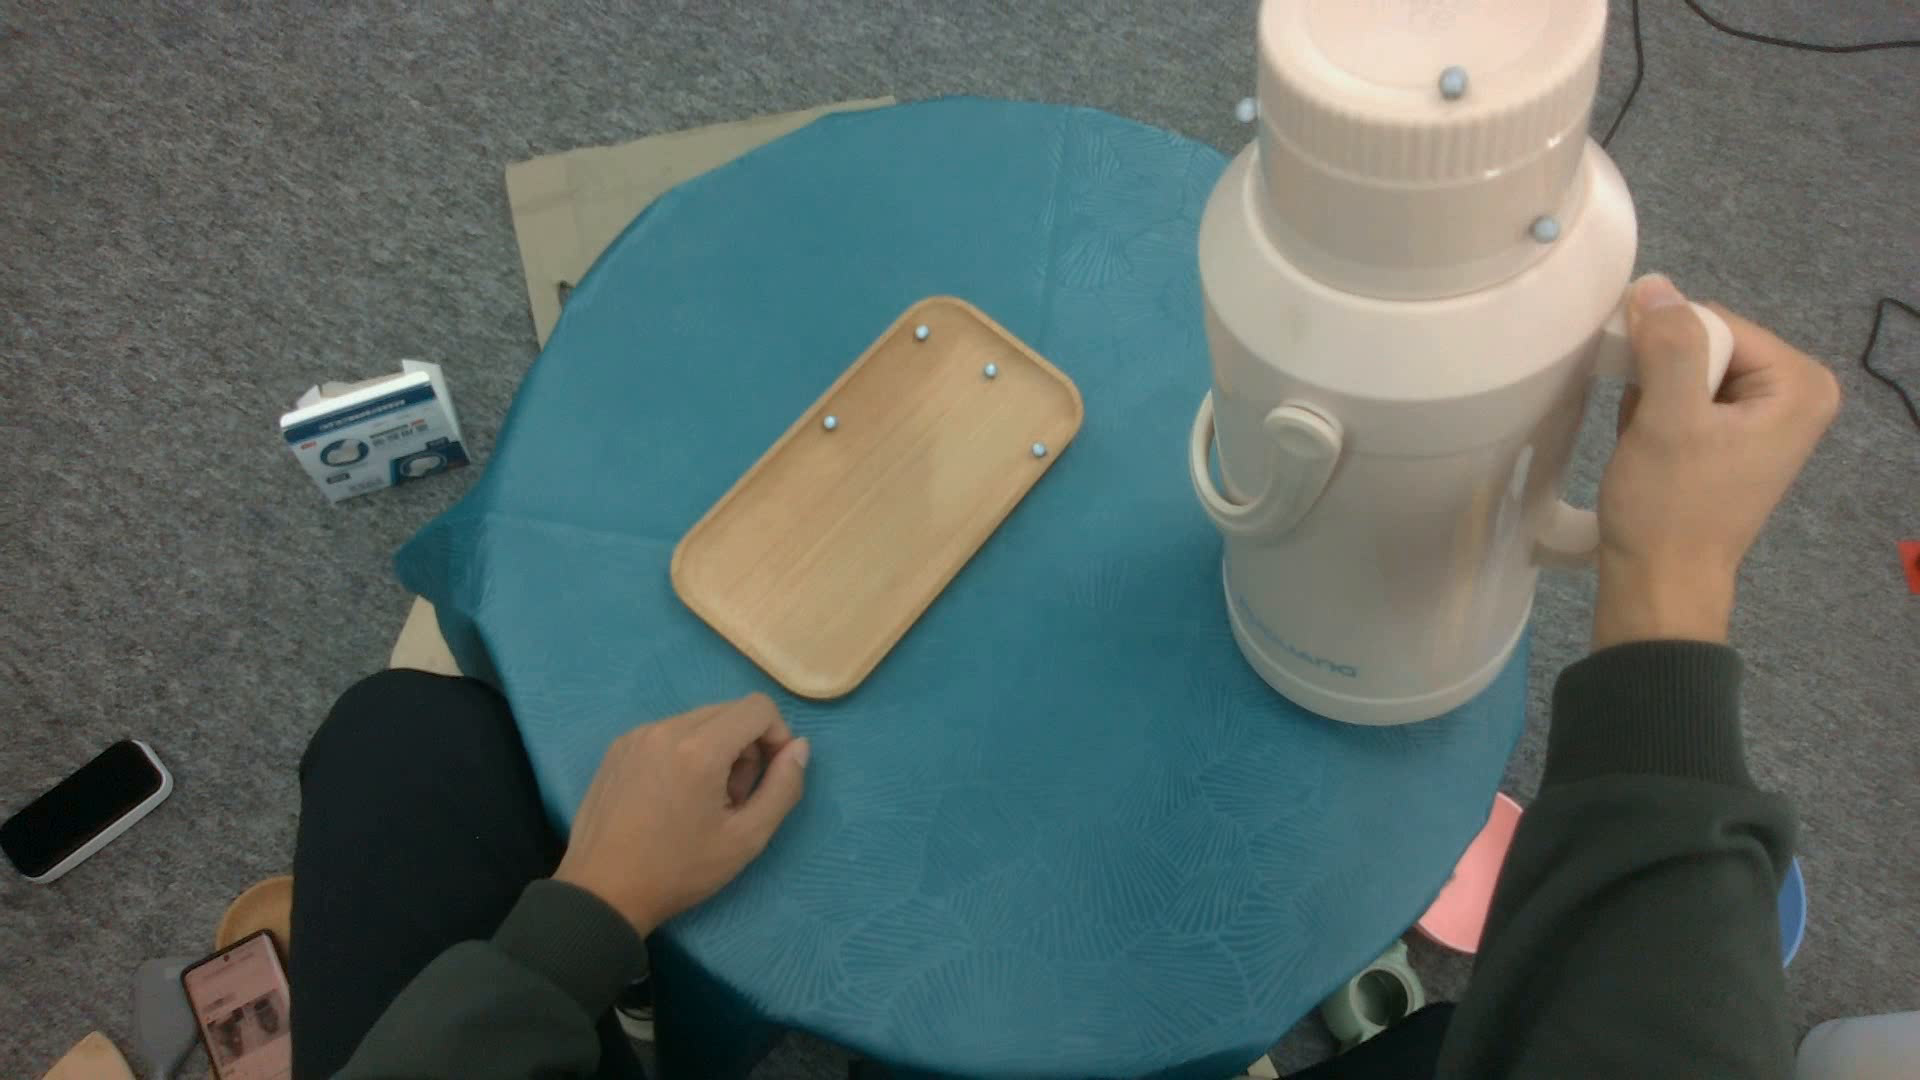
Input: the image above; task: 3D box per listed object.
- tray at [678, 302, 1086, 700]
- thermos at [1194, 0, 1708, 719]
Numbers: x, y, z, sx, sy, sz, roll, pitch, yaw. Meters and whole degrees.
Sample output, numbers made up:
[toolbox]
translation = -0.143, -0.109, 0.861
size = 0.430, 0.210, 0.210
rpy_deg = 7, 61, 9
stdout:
[tray]
translation = -0.041, -0.028, 0.796
size = 0.130, 0.023, 0.251
rpy_deg = 37, 69, 12
[thermos]
translation = 0.200, -0.061, 0.608
size = 0.207, 0.405, 0.176
rpy_deg = 25, 68, 26
